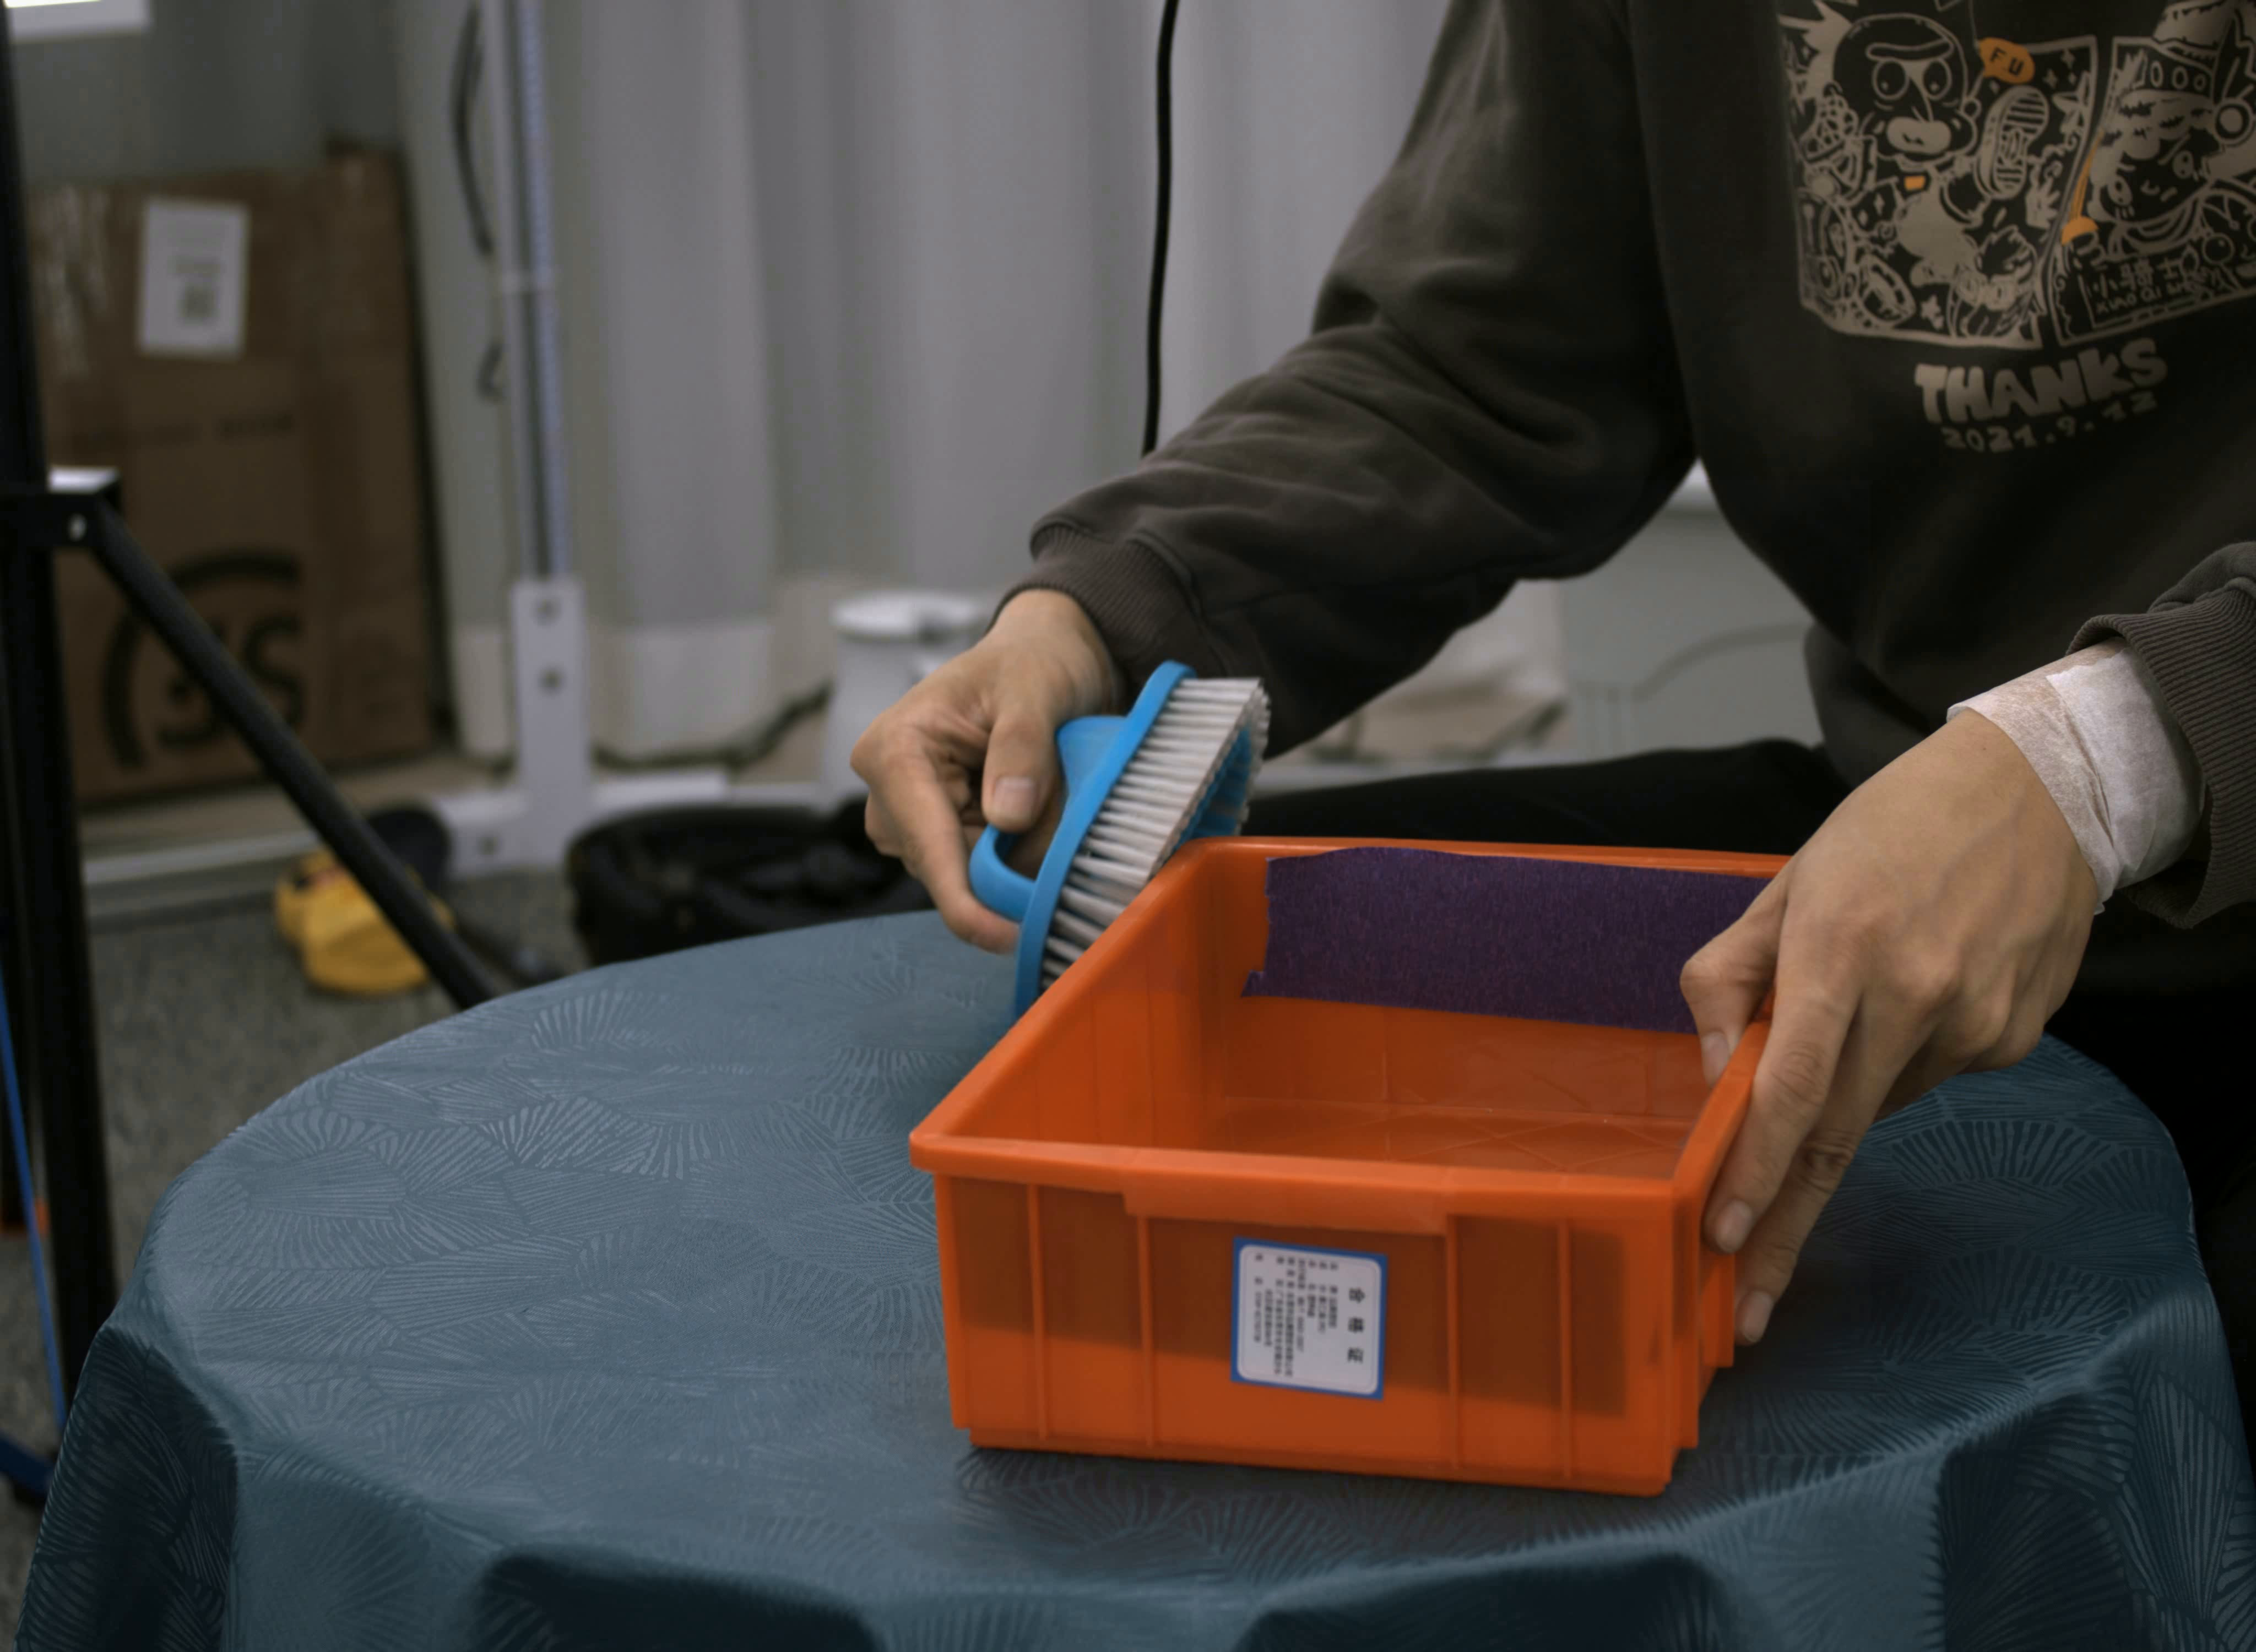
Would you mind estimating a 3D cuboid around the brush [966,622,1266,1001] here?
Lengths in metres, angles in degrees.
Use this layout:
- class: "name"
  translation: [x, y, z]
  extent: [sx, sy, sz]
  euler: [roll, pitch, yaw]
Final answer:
- class: "brush"
  translation: [-0.010, -0.003, 1.640]
  extent: [0.064, 0.084, 0.141]
  euler: [14, 45, 16]

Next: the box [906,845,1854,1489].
- class: "box"
  translation: [0.080, 0.088, 1.463]
  extent: [0.208, 0.096, 0.301]
  euler: [2, 17, 17]
